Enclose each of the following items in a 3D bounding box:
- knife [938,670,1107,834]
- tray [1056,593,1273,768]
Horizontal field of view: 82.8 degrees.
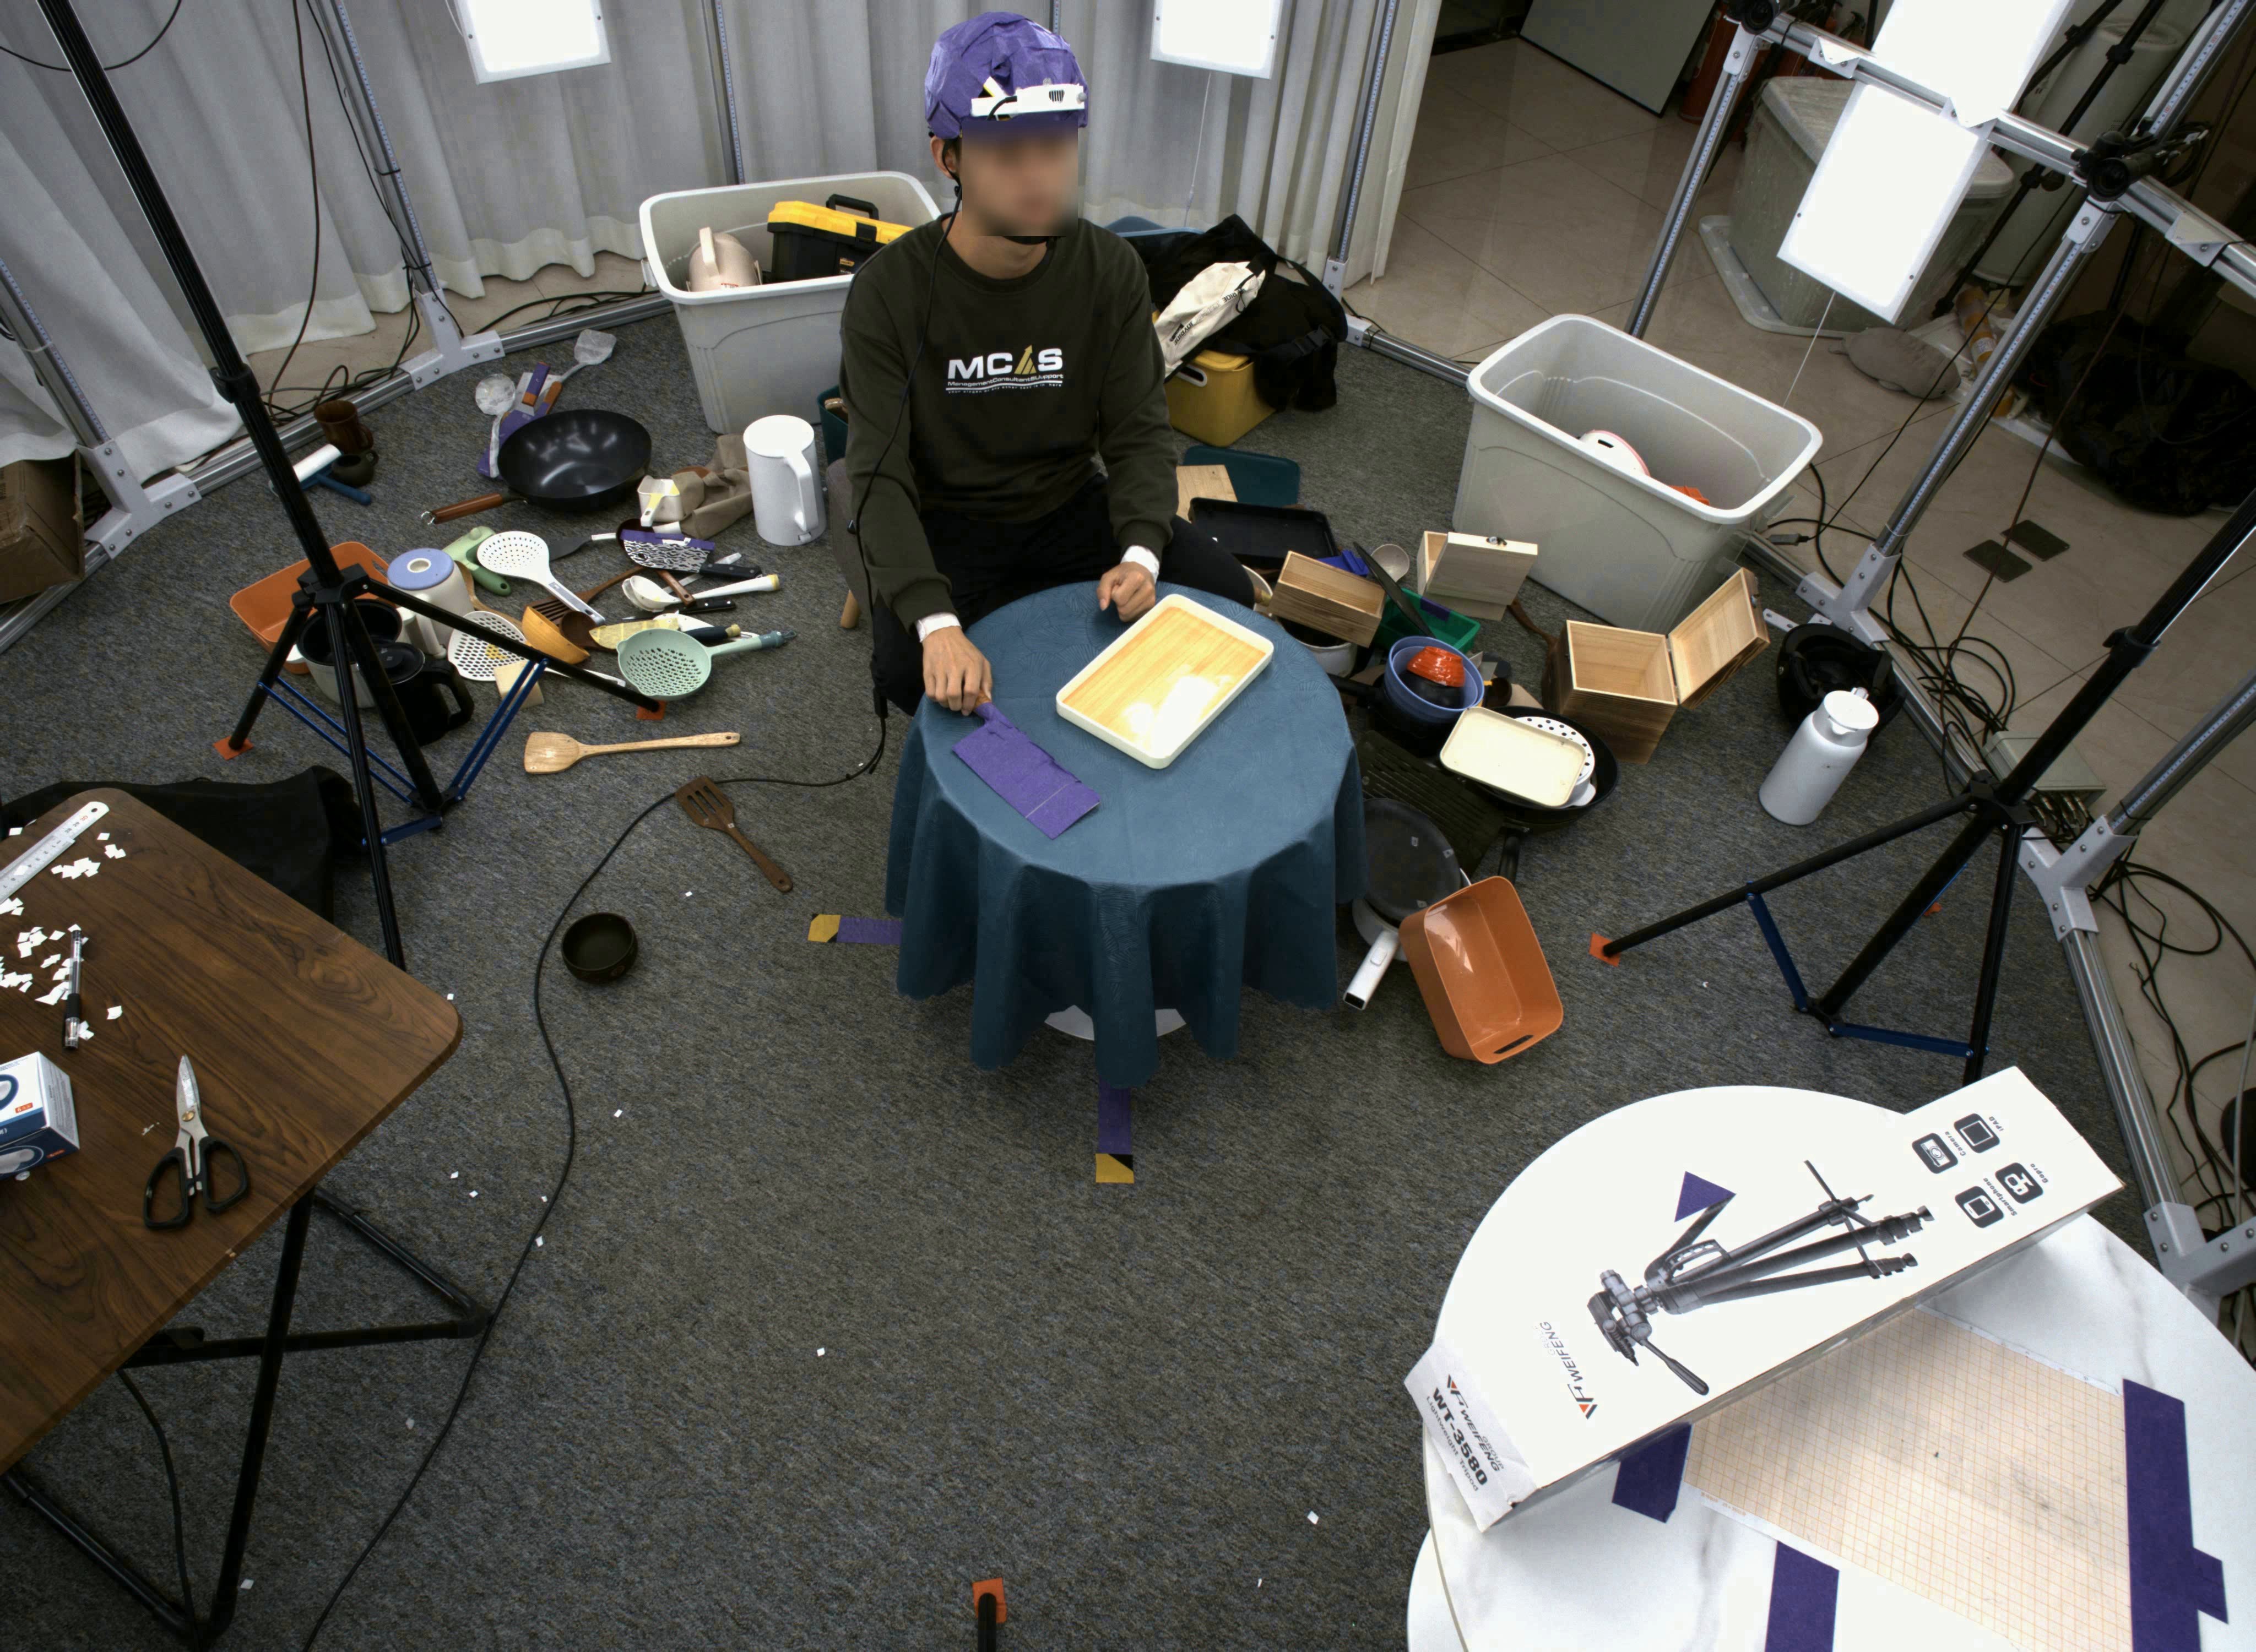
[{"bbox_3d":[-0.171,-0.103,1.728,0.105,0.031,0.320,-37,59,-24],"label":"knife"},{"bbox_3d":[0.055,-0.215,1.840,0.193,0.027,0.304,30,54,21],"label":"tray"}]
